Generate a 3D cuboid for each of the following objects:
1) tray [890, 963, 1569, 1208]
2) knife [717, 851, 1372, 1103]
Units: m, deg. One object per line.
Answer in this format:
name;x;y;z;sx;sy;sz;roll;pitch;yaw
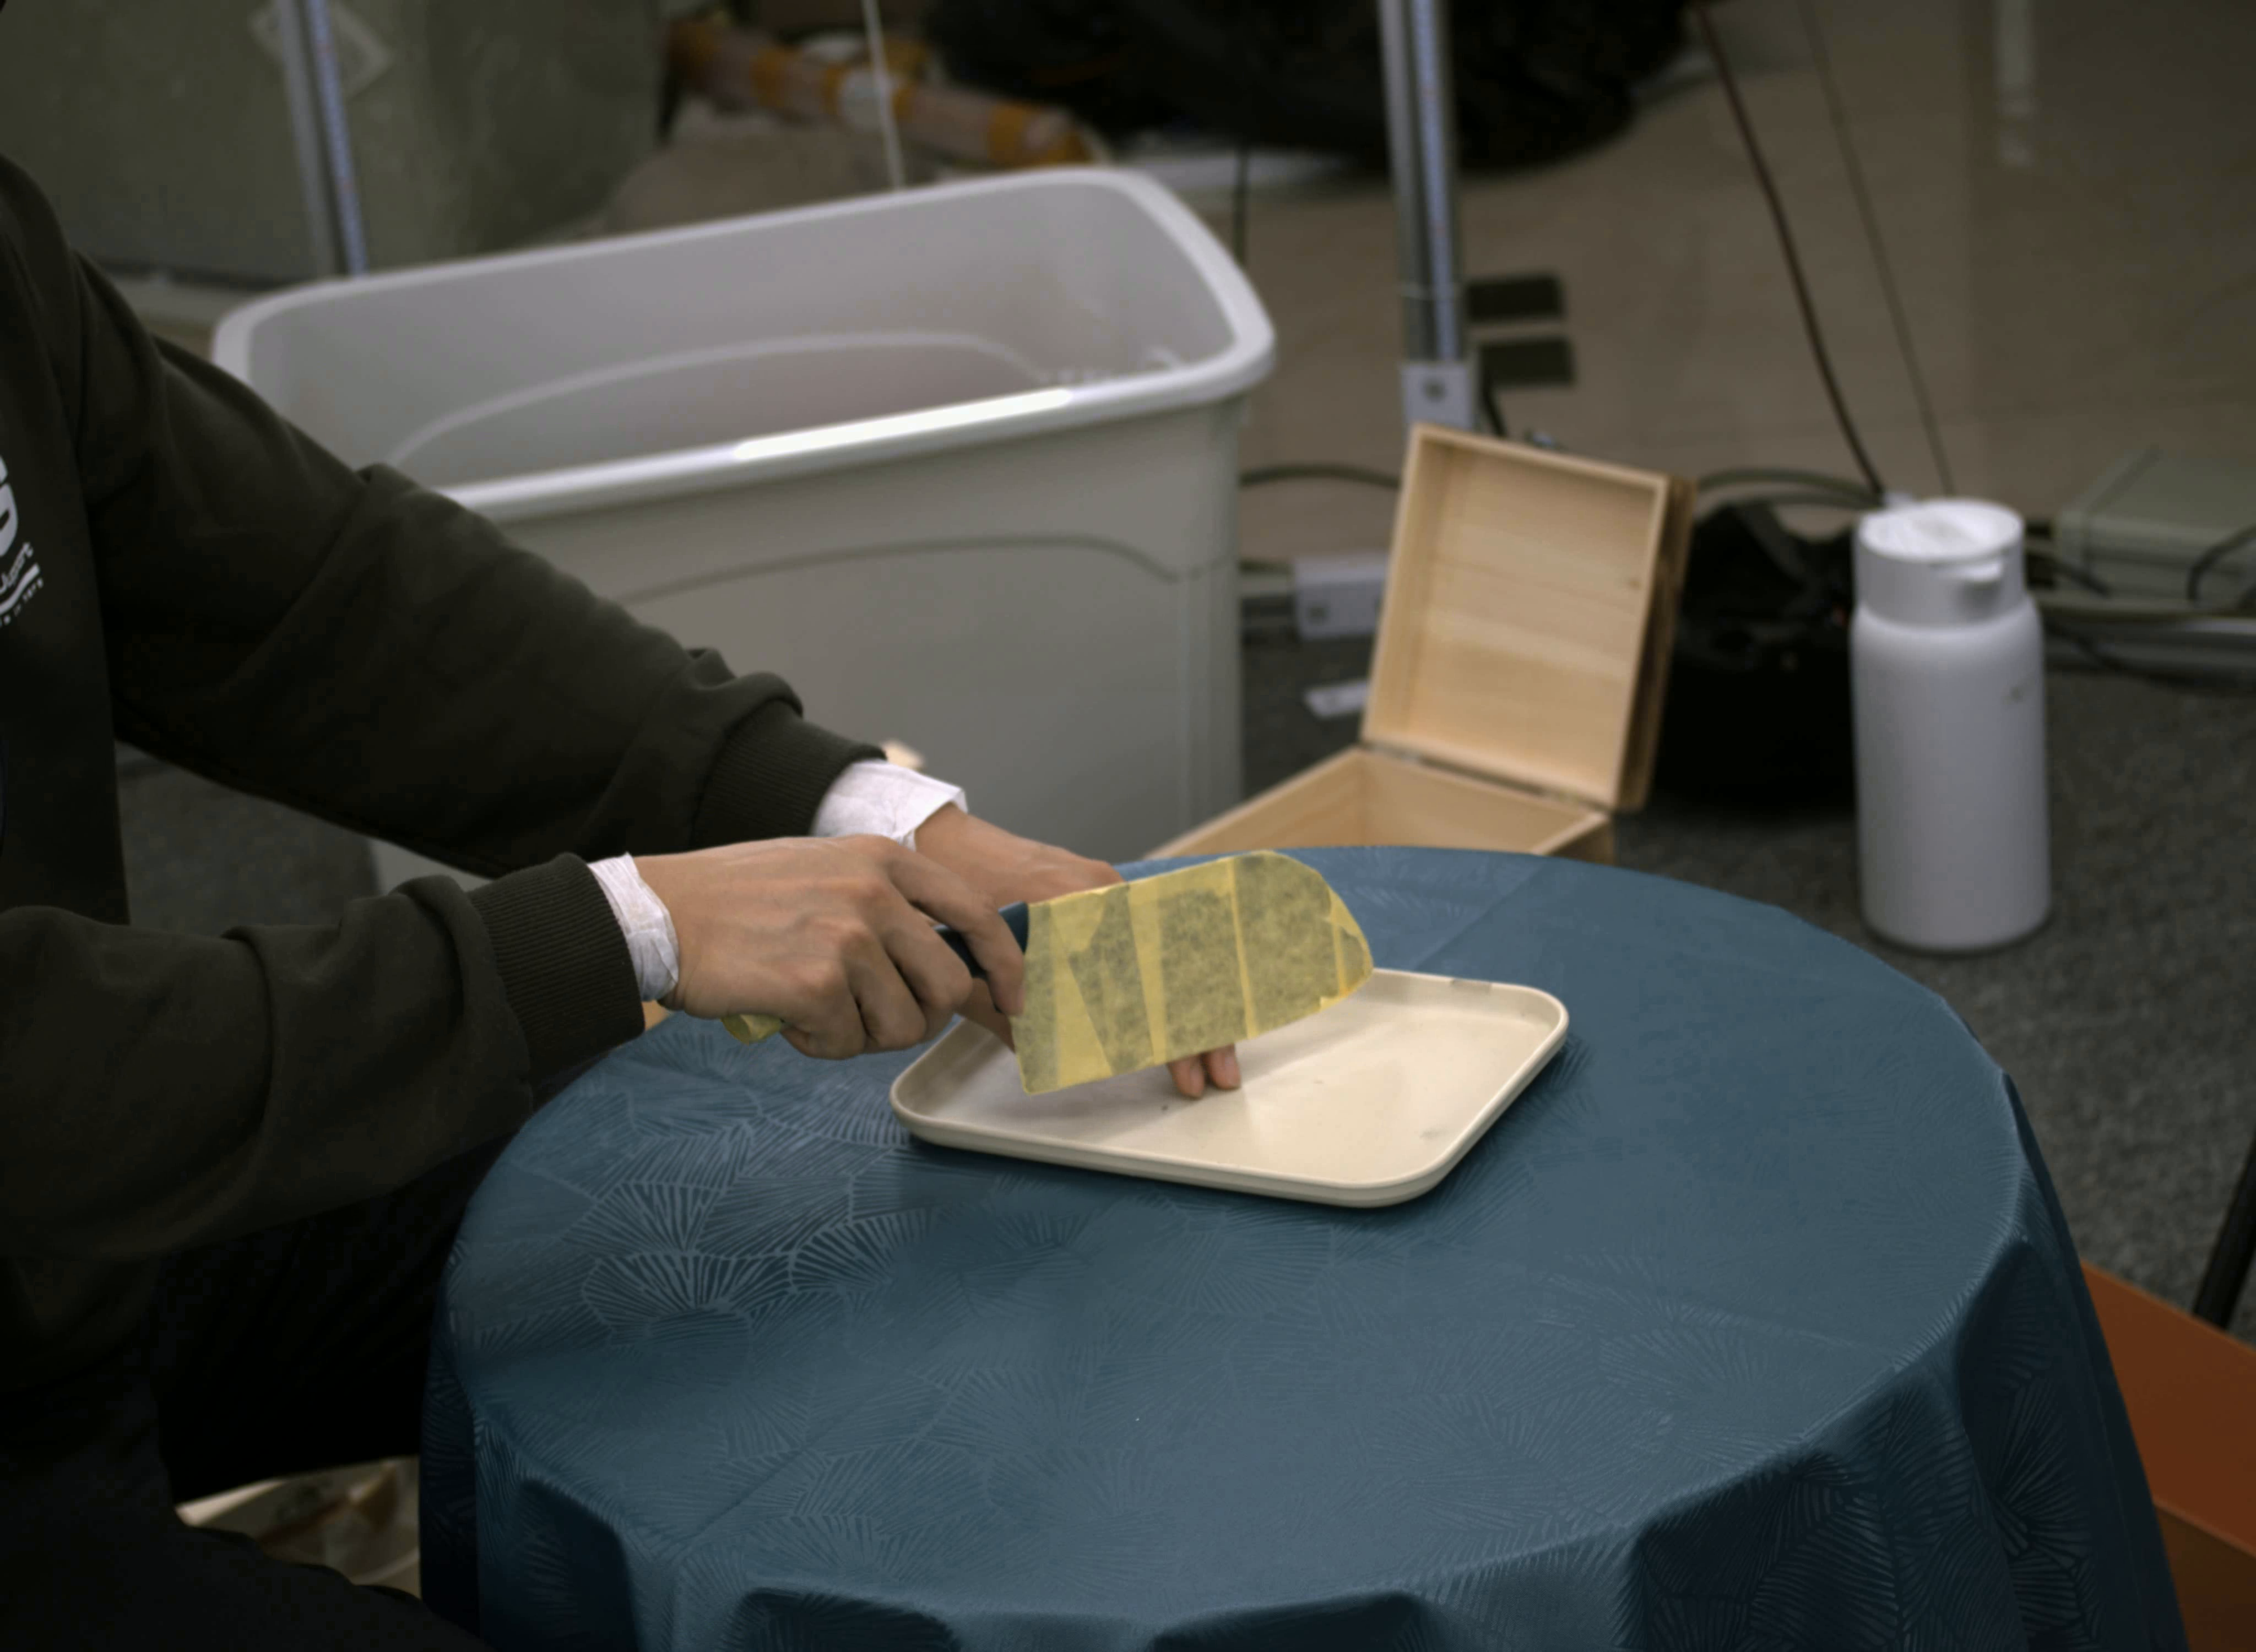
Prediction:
tray;0.040;0.096;2.213;0.239;0.018;0.169;7;28;27
knife;-0.026;0.063;2.164;0.288;0.081;0.027;-9;6;-30
